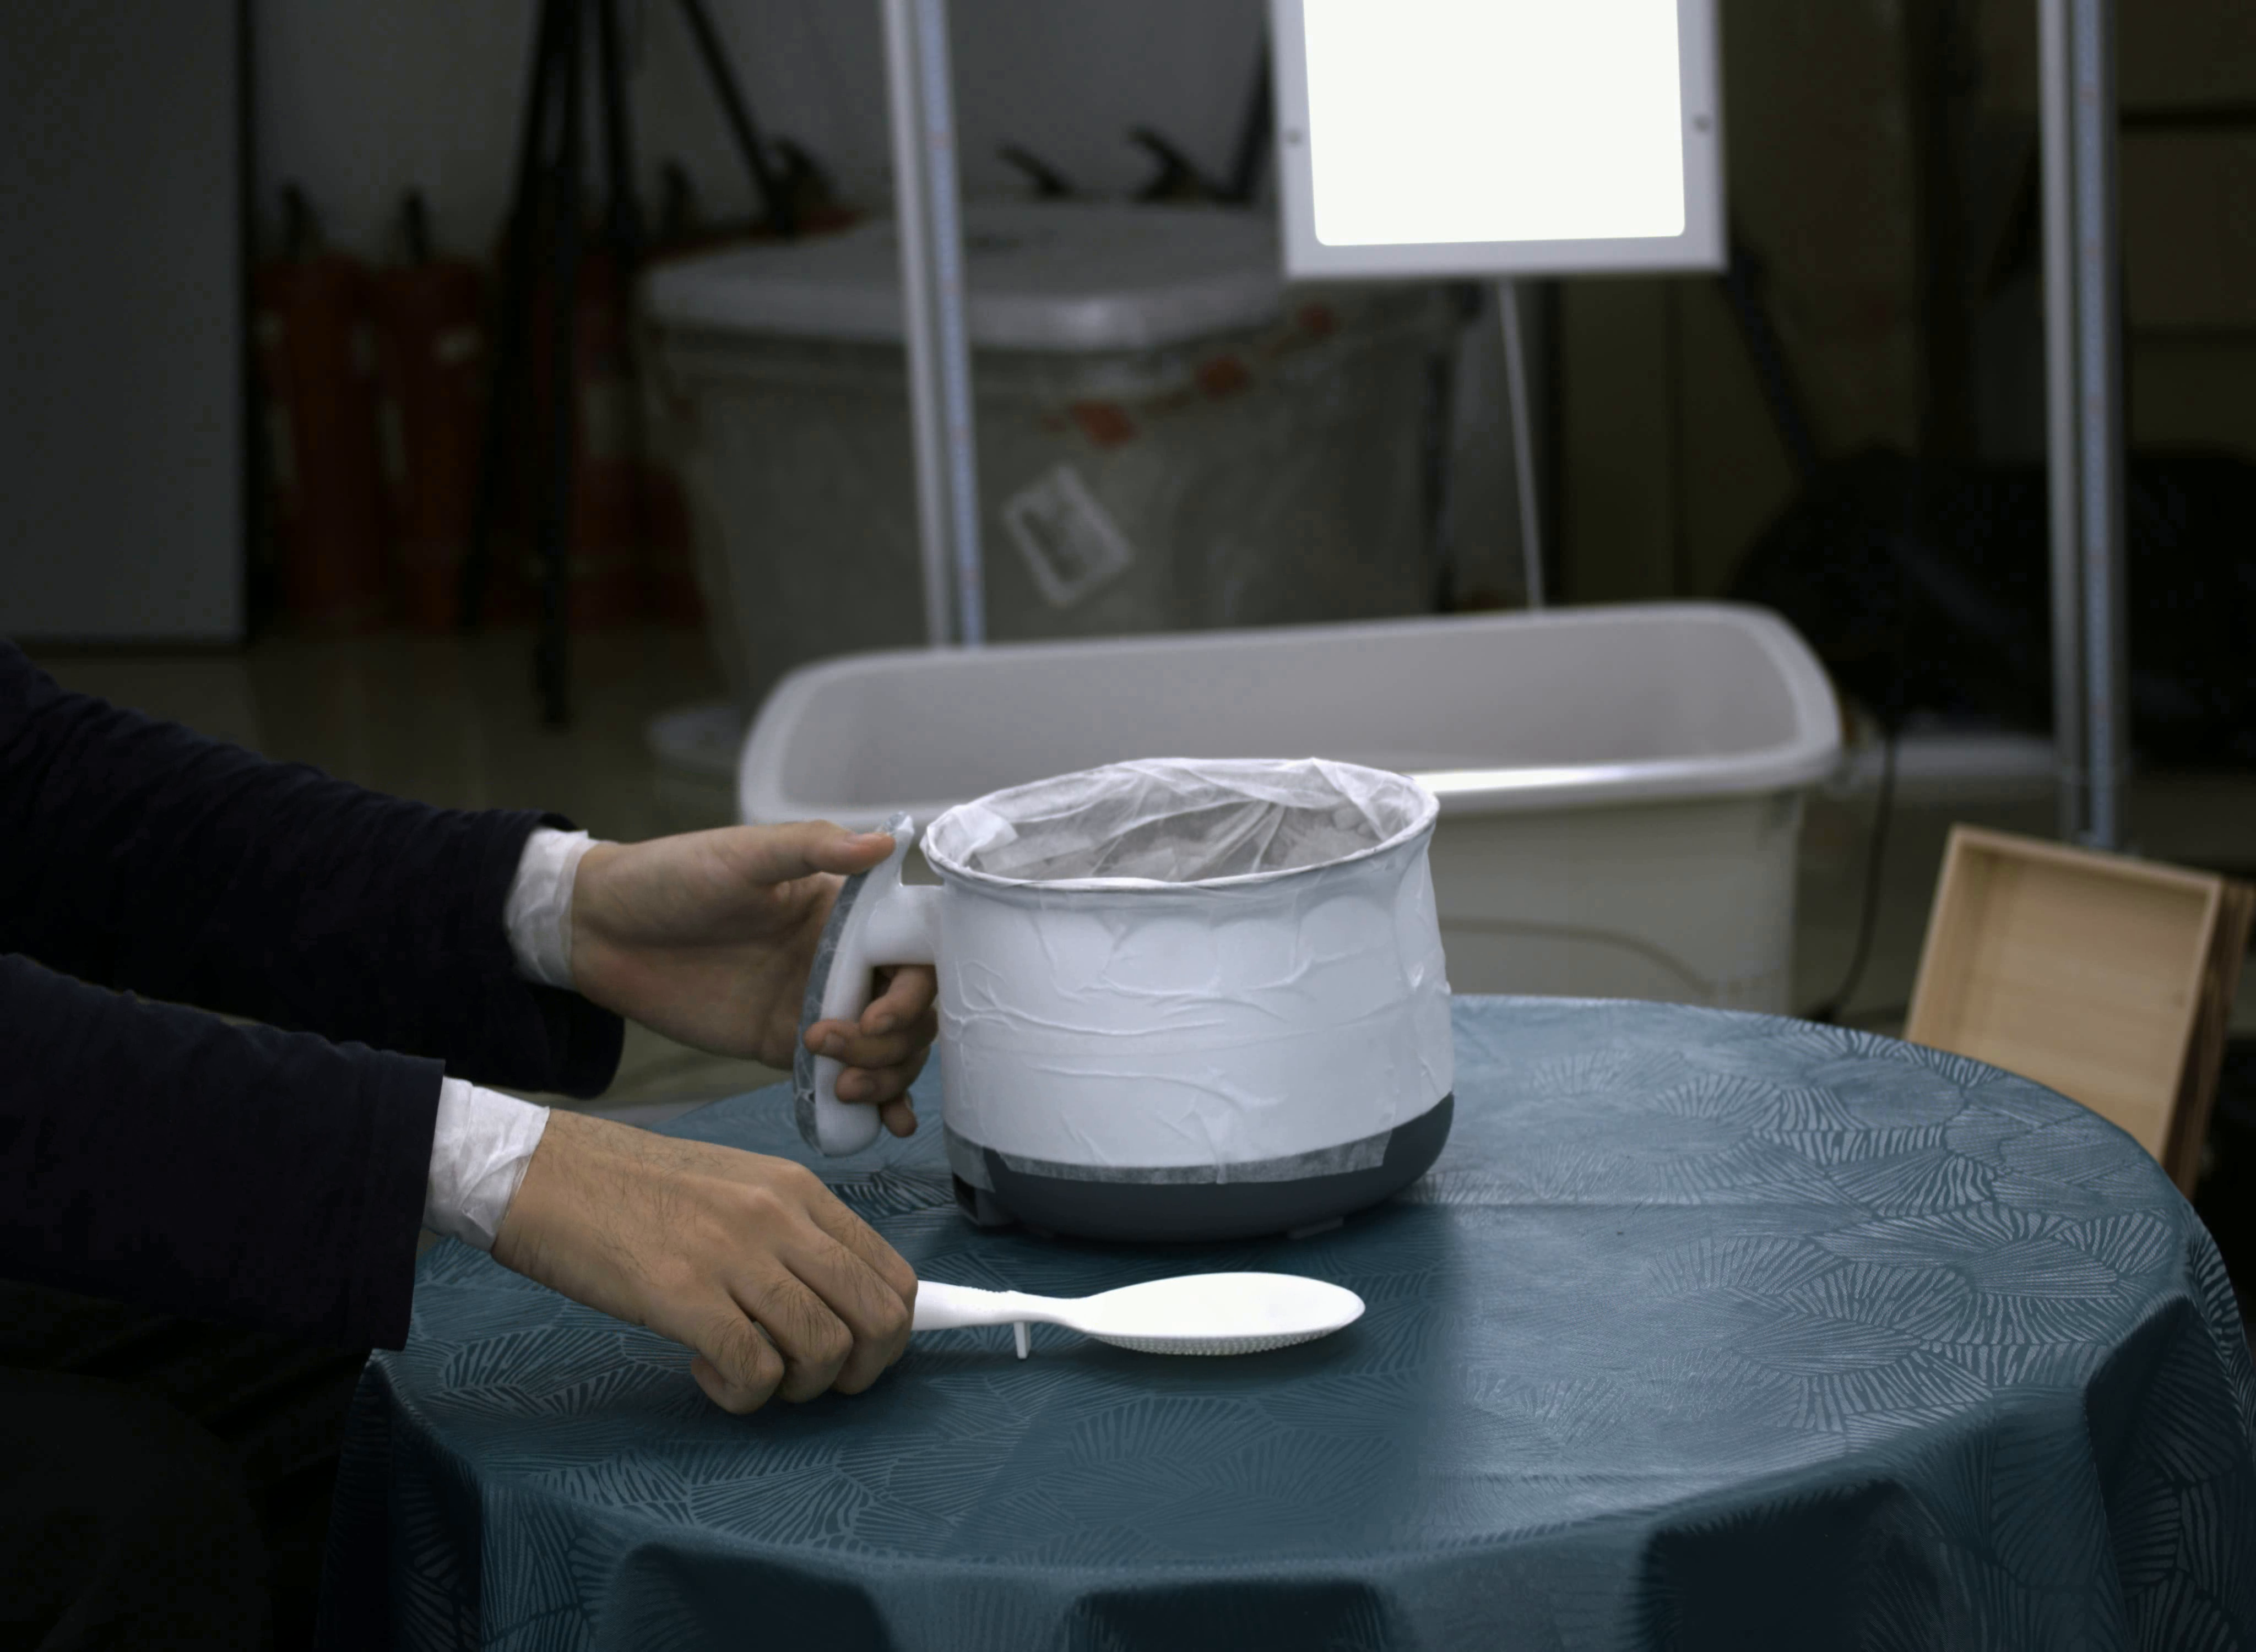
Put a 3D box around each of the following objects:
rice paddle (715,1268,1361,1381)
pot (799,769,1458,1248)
[{"bbox_3d":[-0.028,0.154,1.742,0.206,0.029,0.068,-4,14,9],"label":"rice paddle"},{"bbox_3d":[-0.004,0.063,1.891,0.236,0.137,0.176,-3,12,15],"label":"pot"}]
